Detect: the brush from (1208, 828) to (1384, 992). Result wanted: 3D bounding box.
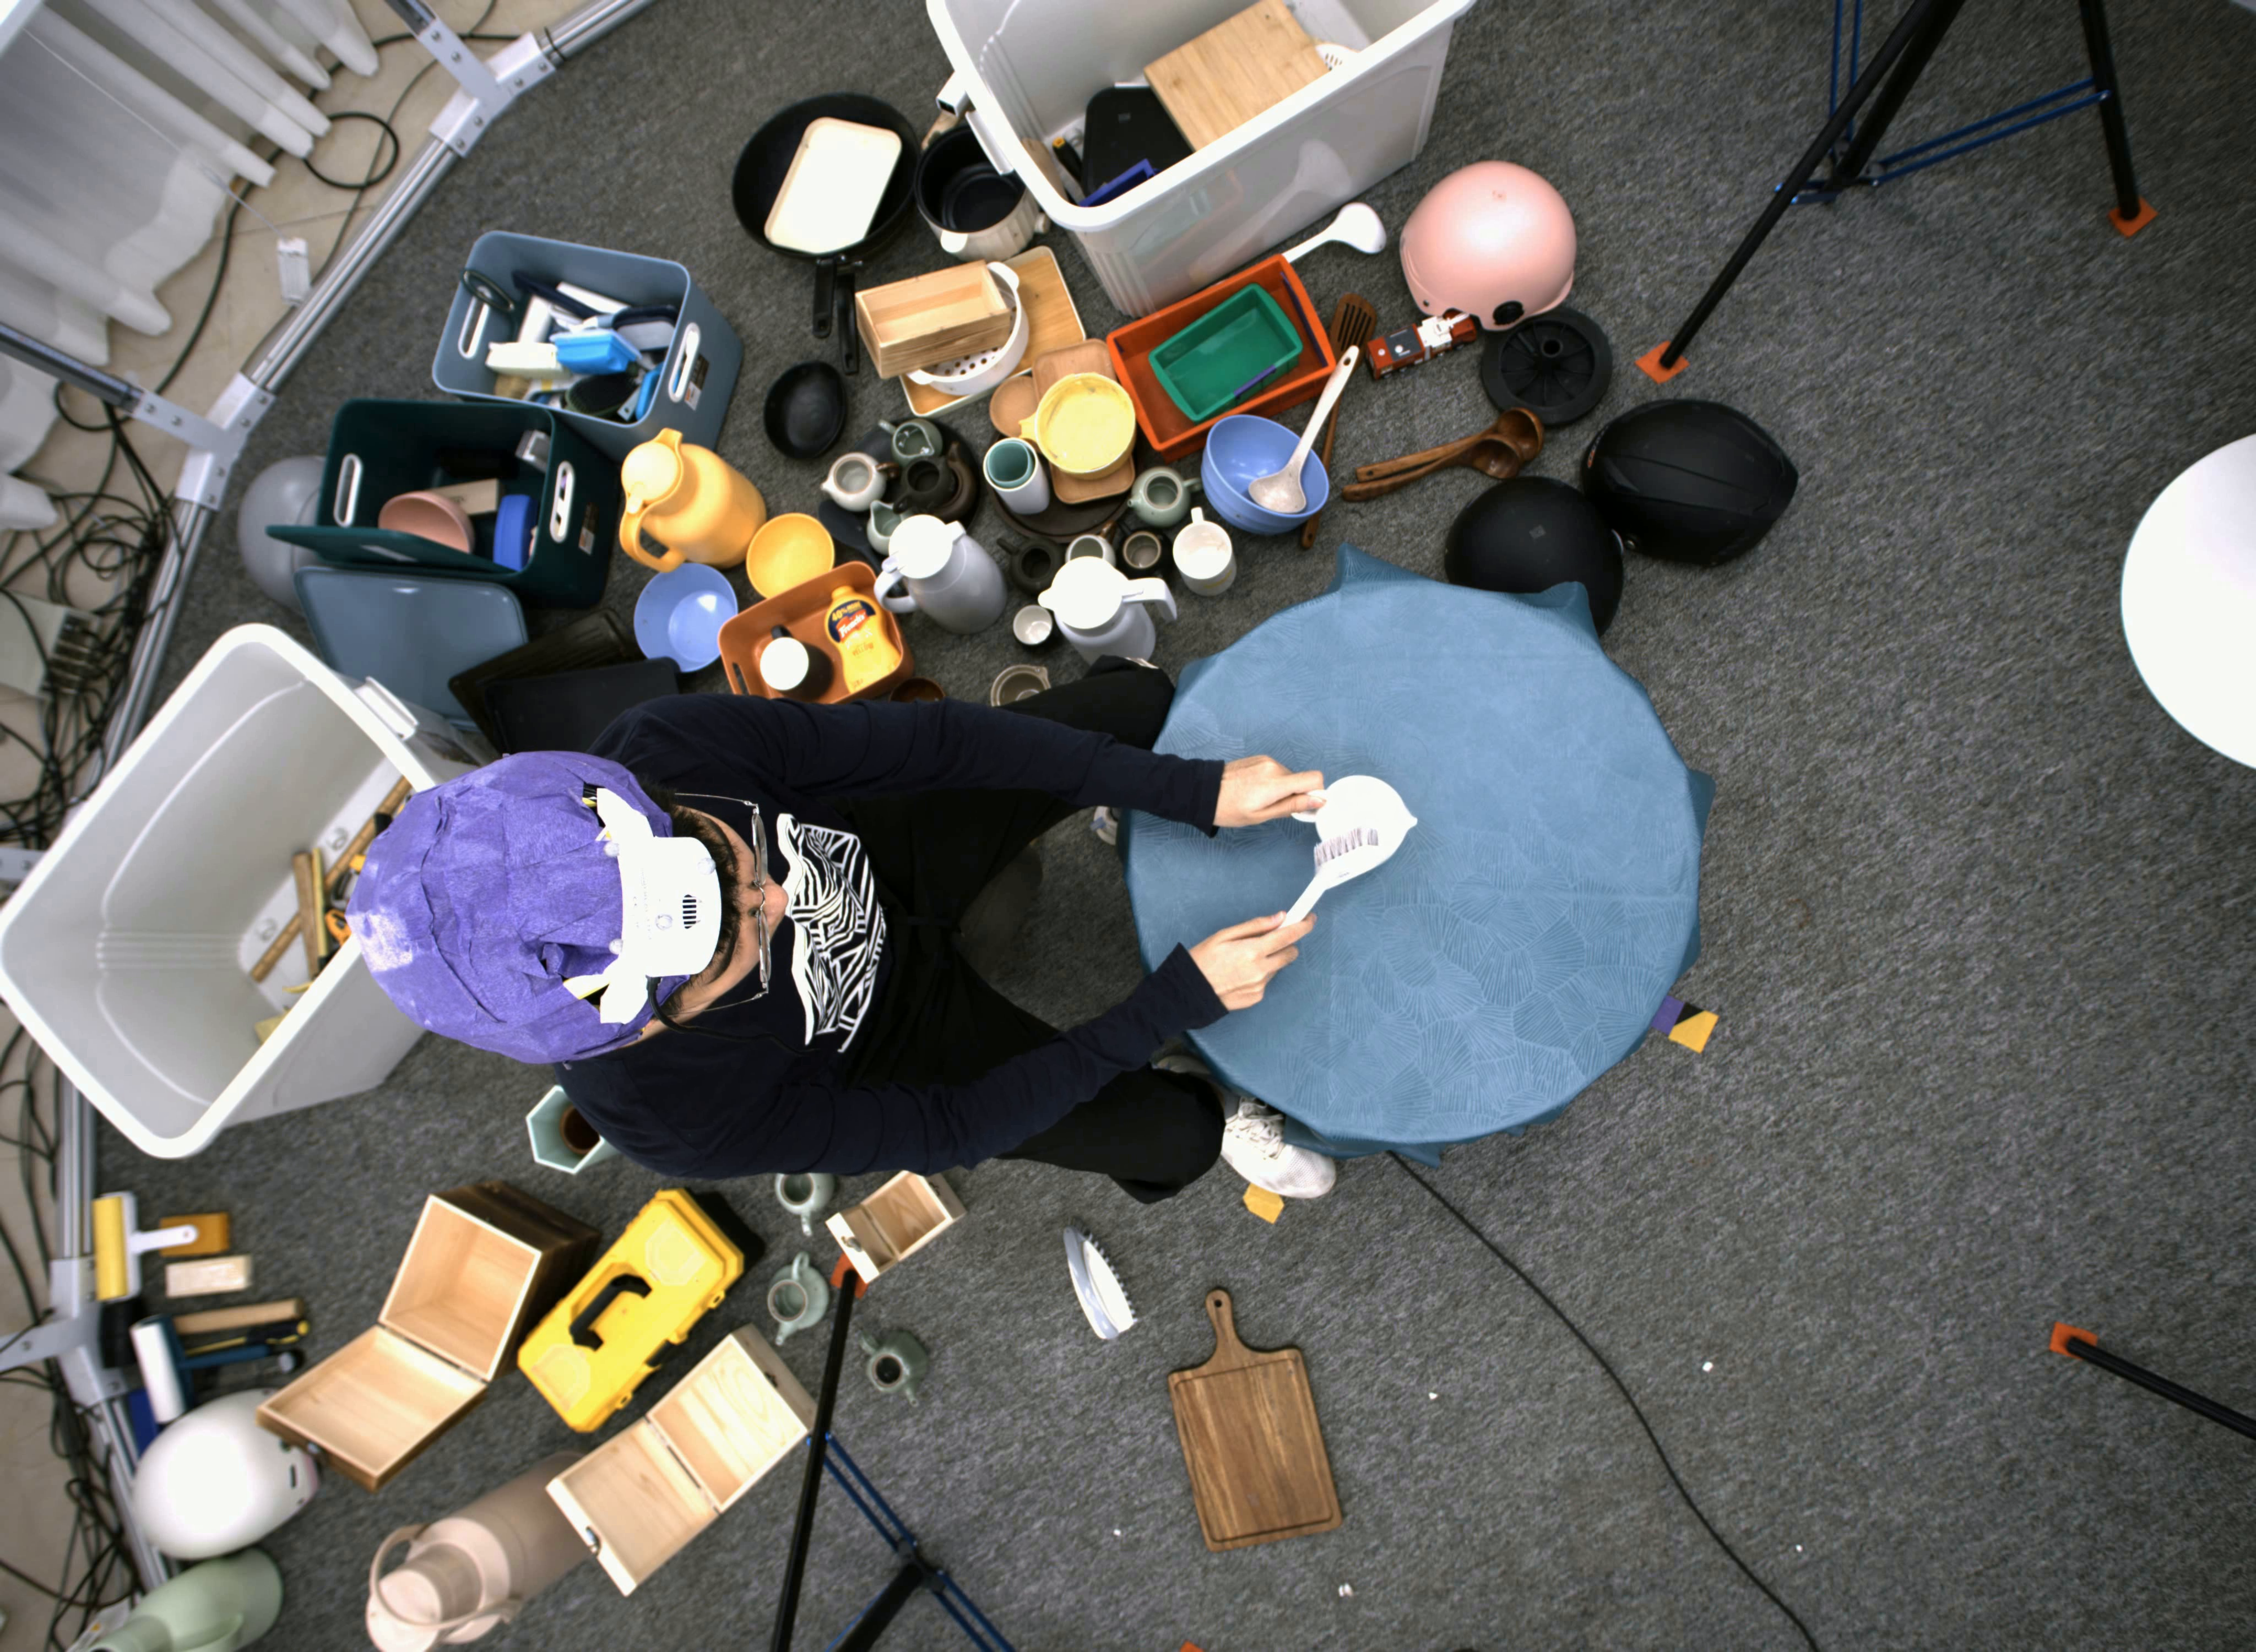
[{"bbox_3d":[0.158,0.081,1.384,0.248,0.034,0.049,-43,65,29],"label":"brush"}]

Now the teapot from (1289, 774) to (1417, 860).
[{"bbox_3d":[0.225,-0.011,1.394,0.127,0.058,0.091,12,64,3],"label":"teapot"}]
